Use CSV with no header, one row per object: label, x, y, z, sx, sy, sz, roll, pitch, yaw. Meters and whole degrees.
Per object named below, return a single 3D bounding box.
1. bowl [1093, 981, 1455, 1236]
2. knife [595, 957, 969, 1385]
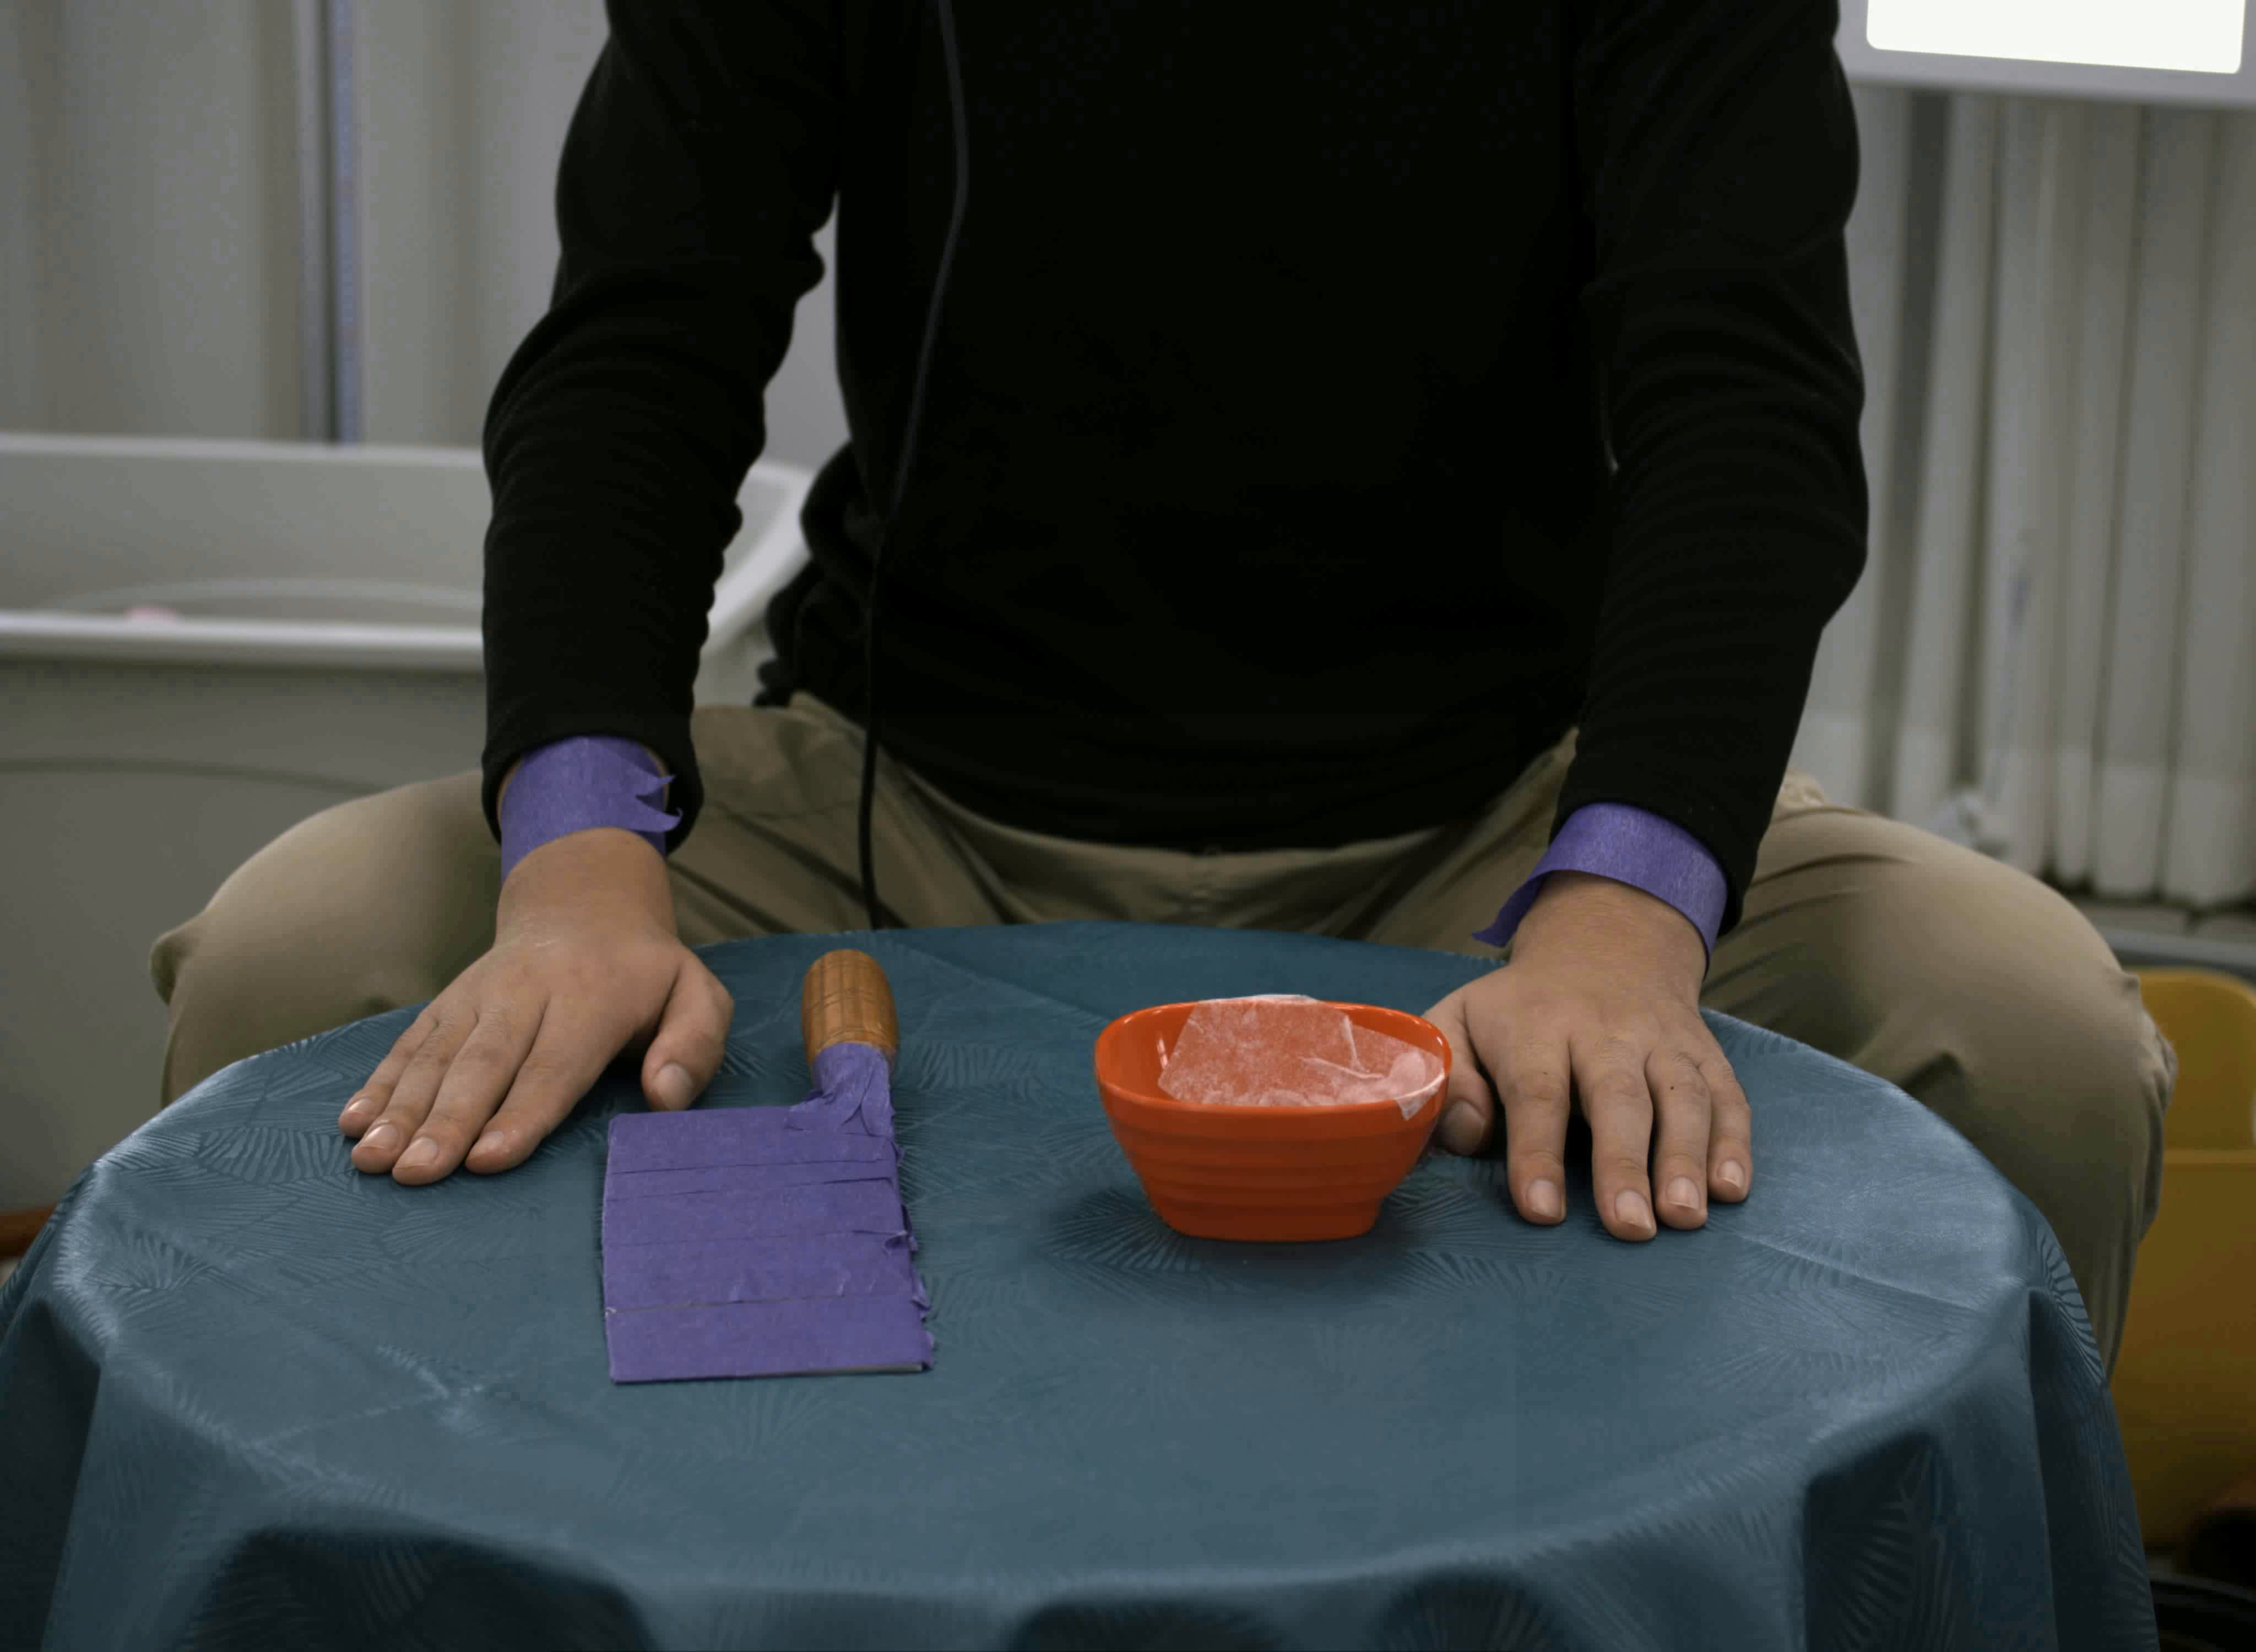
bowl,0.045,0.089,1.603,0.118,0.052,0.118,-1,19,1
knife,-0.111,0.101,1.610,0.104,0.032,0.313,-1,16,-6
